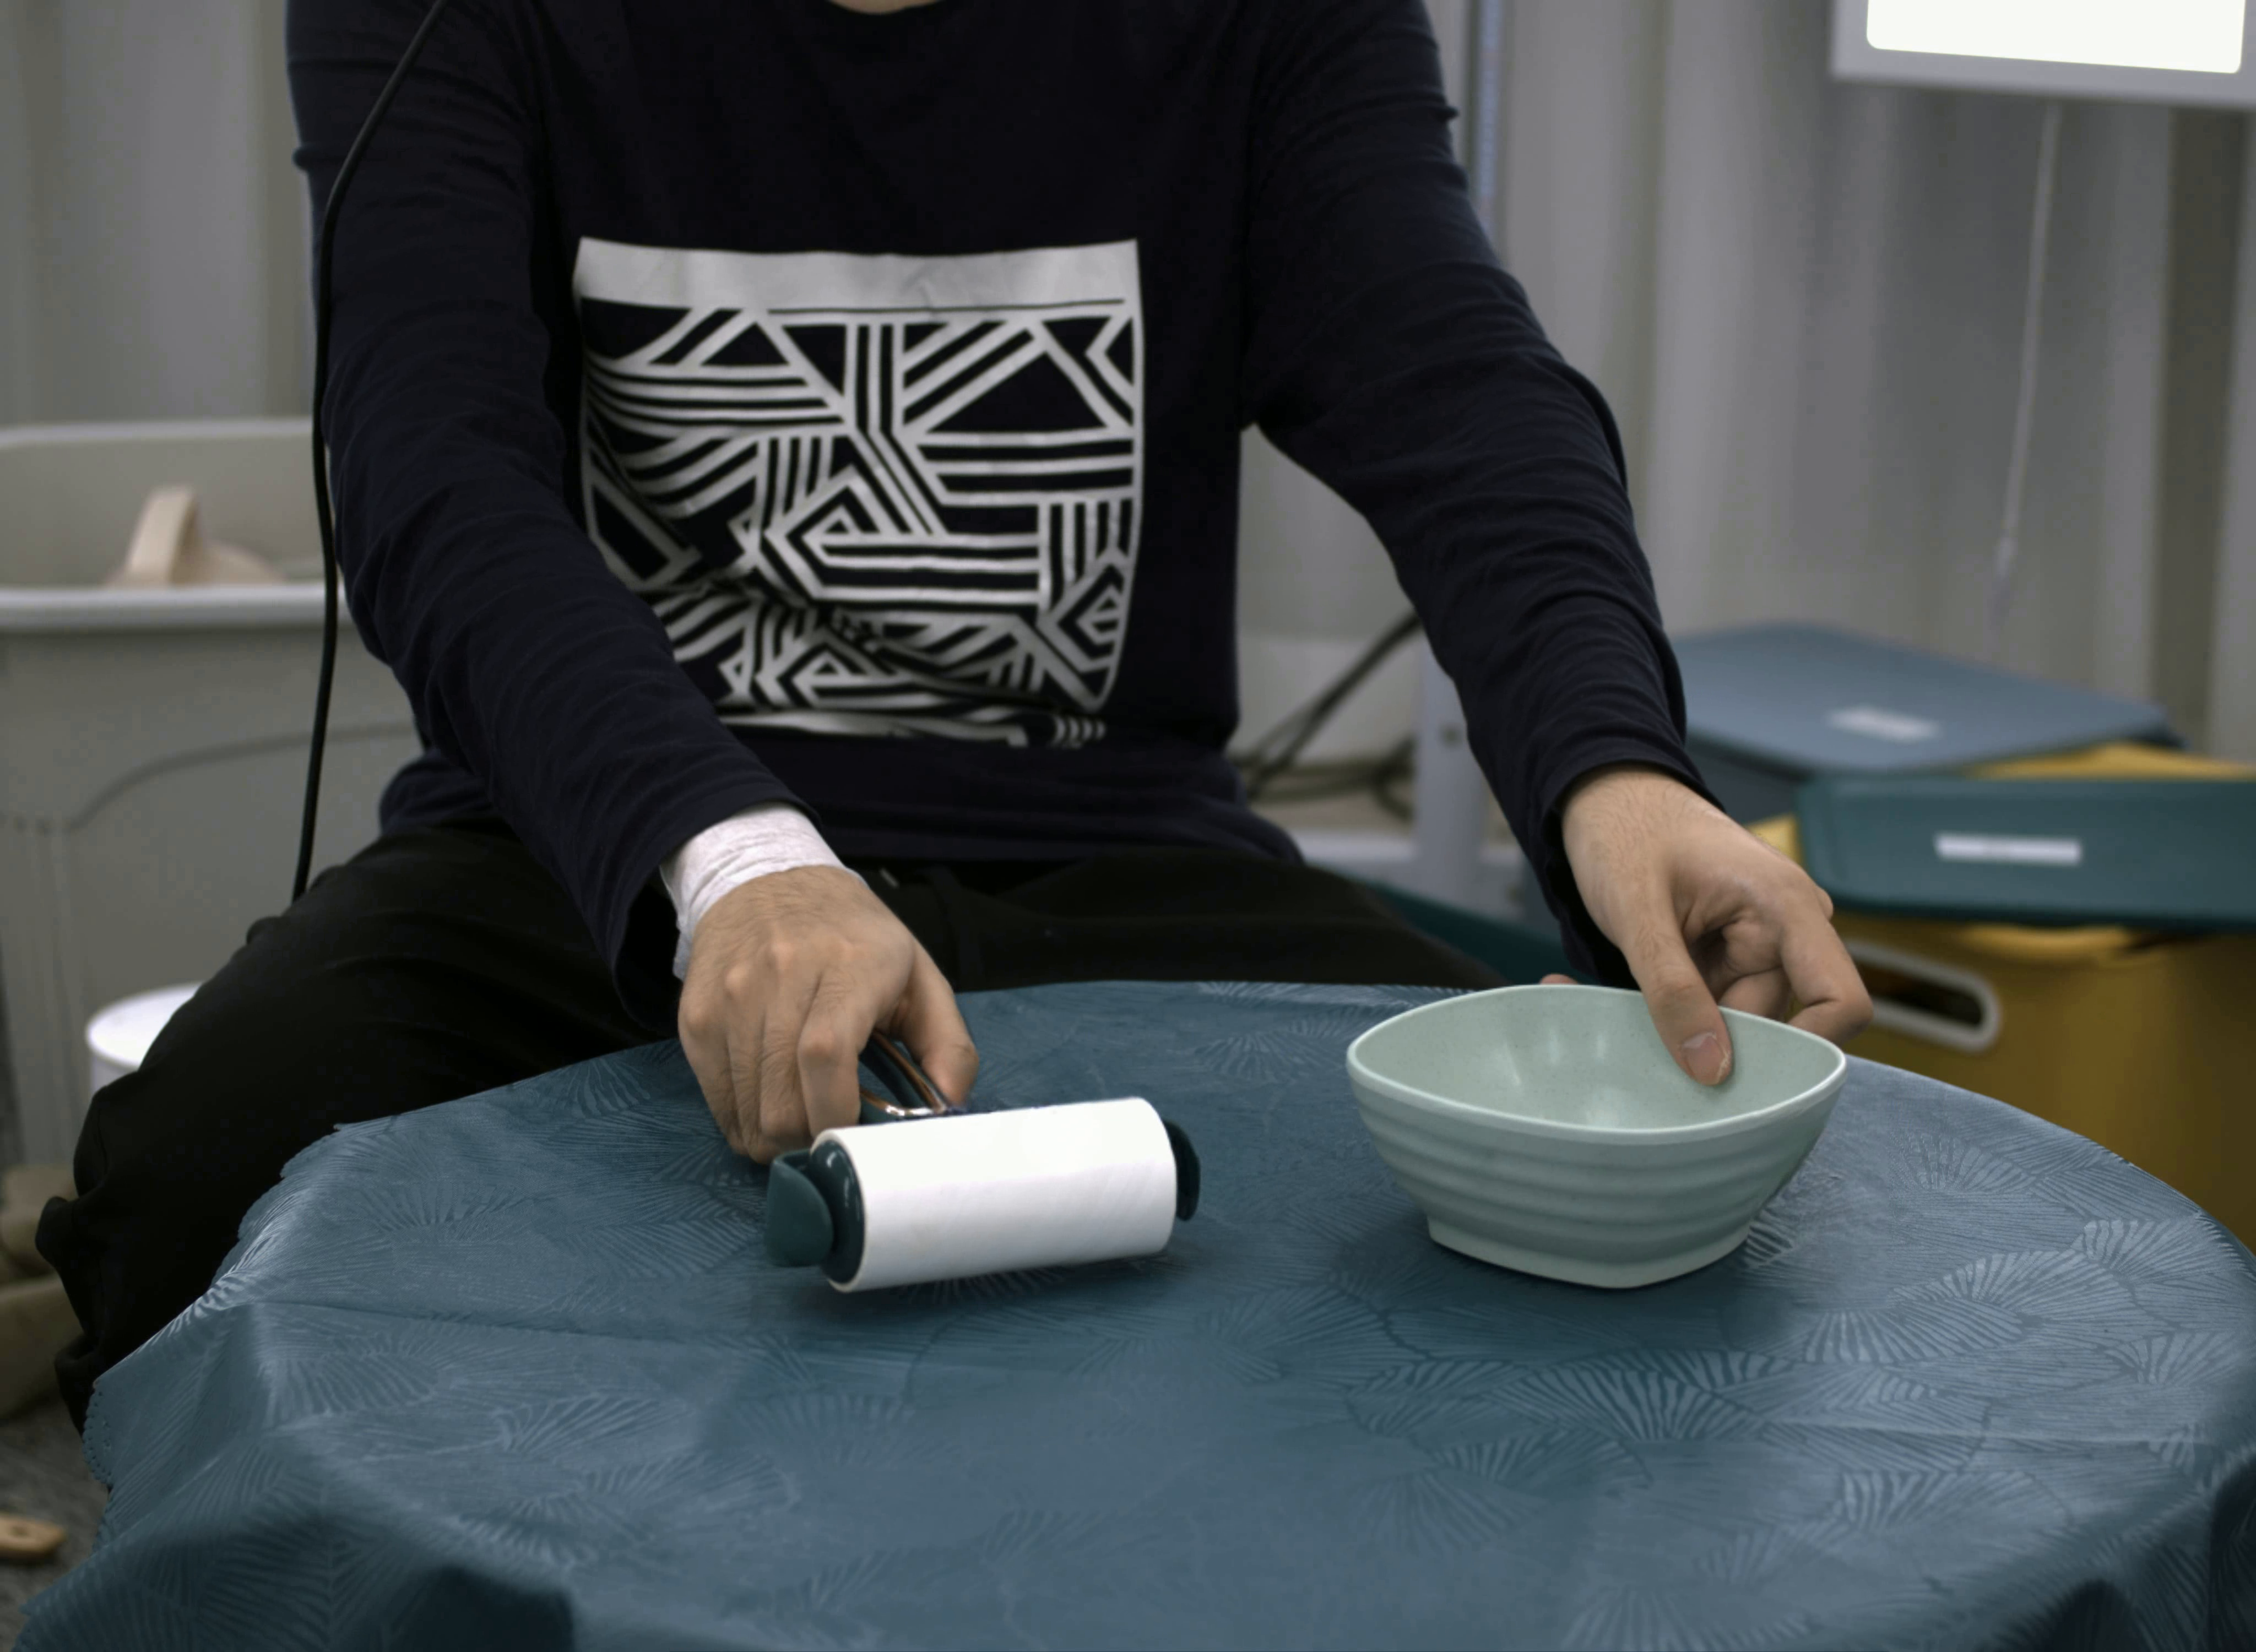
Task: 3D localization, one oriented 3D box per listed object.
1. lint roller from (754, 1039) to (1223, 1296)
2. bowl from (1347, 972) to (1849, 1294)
[{"bbox_3d":[-0.069,0.084,1.591,0.135,0.049,0.177,-5,24,-26],"label":"lint roller"},{"bbox_3d":[0.139,0.095,1.582,0.151,0.059,0.150,2,17,0],"label":"bowl"}]
